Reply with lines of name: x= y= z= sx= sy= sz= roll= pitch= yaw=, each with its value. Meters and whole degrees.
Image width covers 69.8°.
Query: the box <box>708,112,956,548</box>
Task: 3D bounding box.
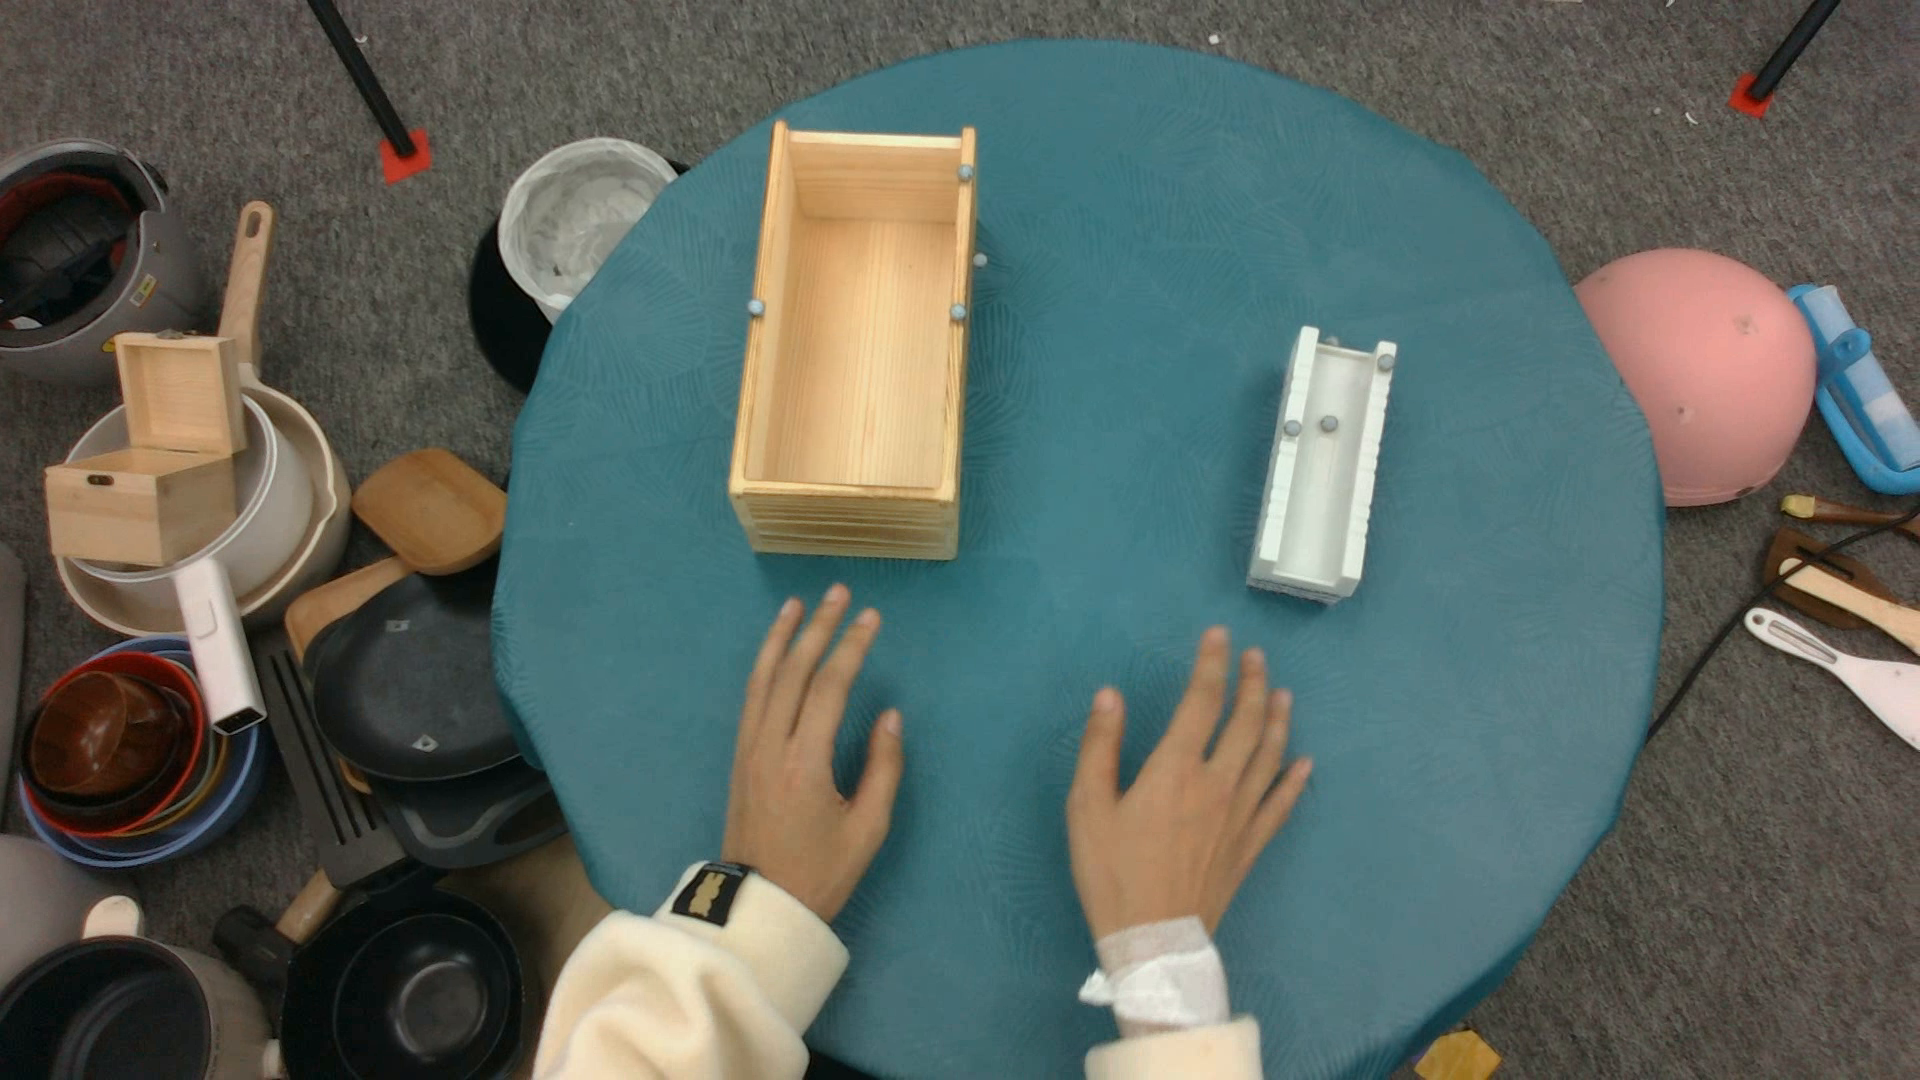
box: x=-0.059 y=-0.109 z=0.707 sx=0.107 sy=0.080 sz=0.212 roll=2 pitch=67 yaw=1

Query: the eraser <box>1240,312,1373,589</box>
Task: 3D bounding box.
eraser: x=0.175 y=-0.045 z=0.700 sx=0.050 sy=0.046 sz=0.135 roll=11 pitch=67 yaw=2
